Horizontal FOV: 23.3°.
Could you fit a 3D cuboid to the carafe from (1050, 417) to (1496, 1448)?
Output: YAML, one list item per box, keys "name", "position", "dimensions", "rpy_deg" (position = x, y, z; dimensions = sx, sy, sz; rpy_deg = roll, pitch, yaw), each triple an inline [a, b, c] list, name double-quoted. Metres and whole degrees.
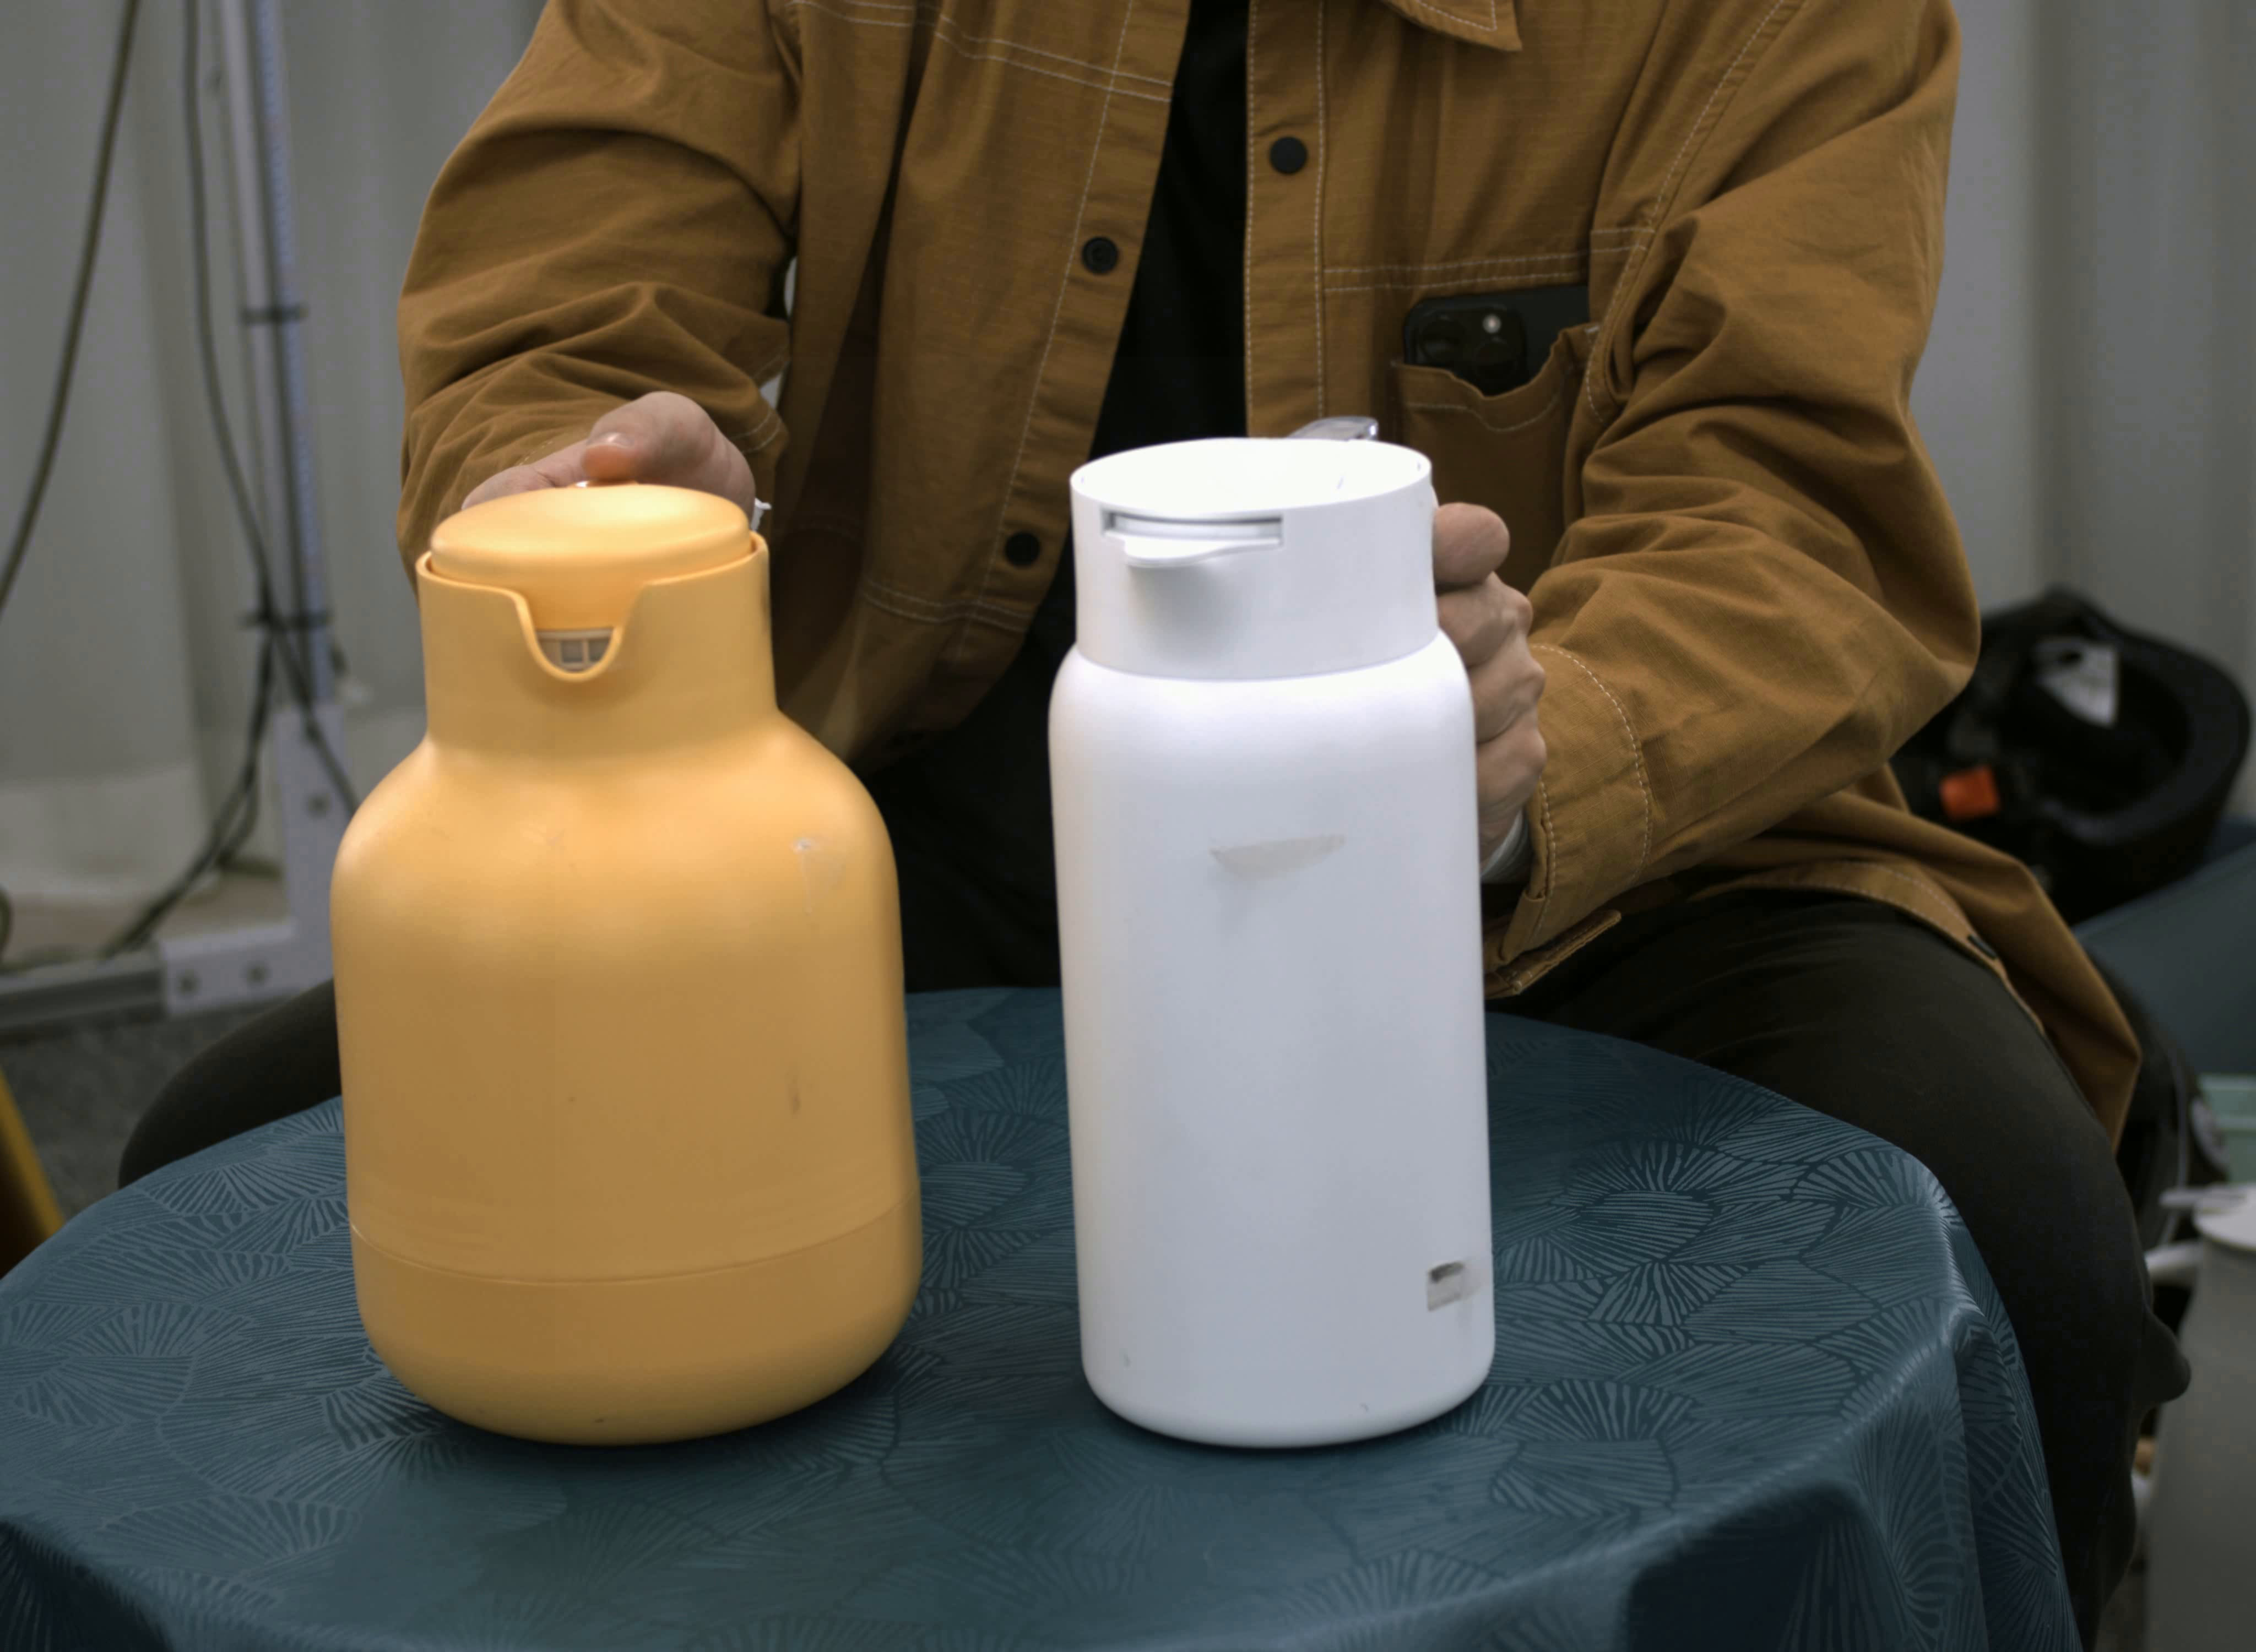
- name: "carafe"
  position: [0.046, 0.025, 1.526]
  dimensions: [0.124, 0.268, 0.173]
  rpy_deg: [1, 14, 25]

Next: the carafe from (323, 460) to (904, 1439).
- name: "carafe"
  position: [-0.144, 0.026, 1.562]
  dimensions: [0.163, 0.259, 0.204]
  rpy_deg: [1, 15, 1]
